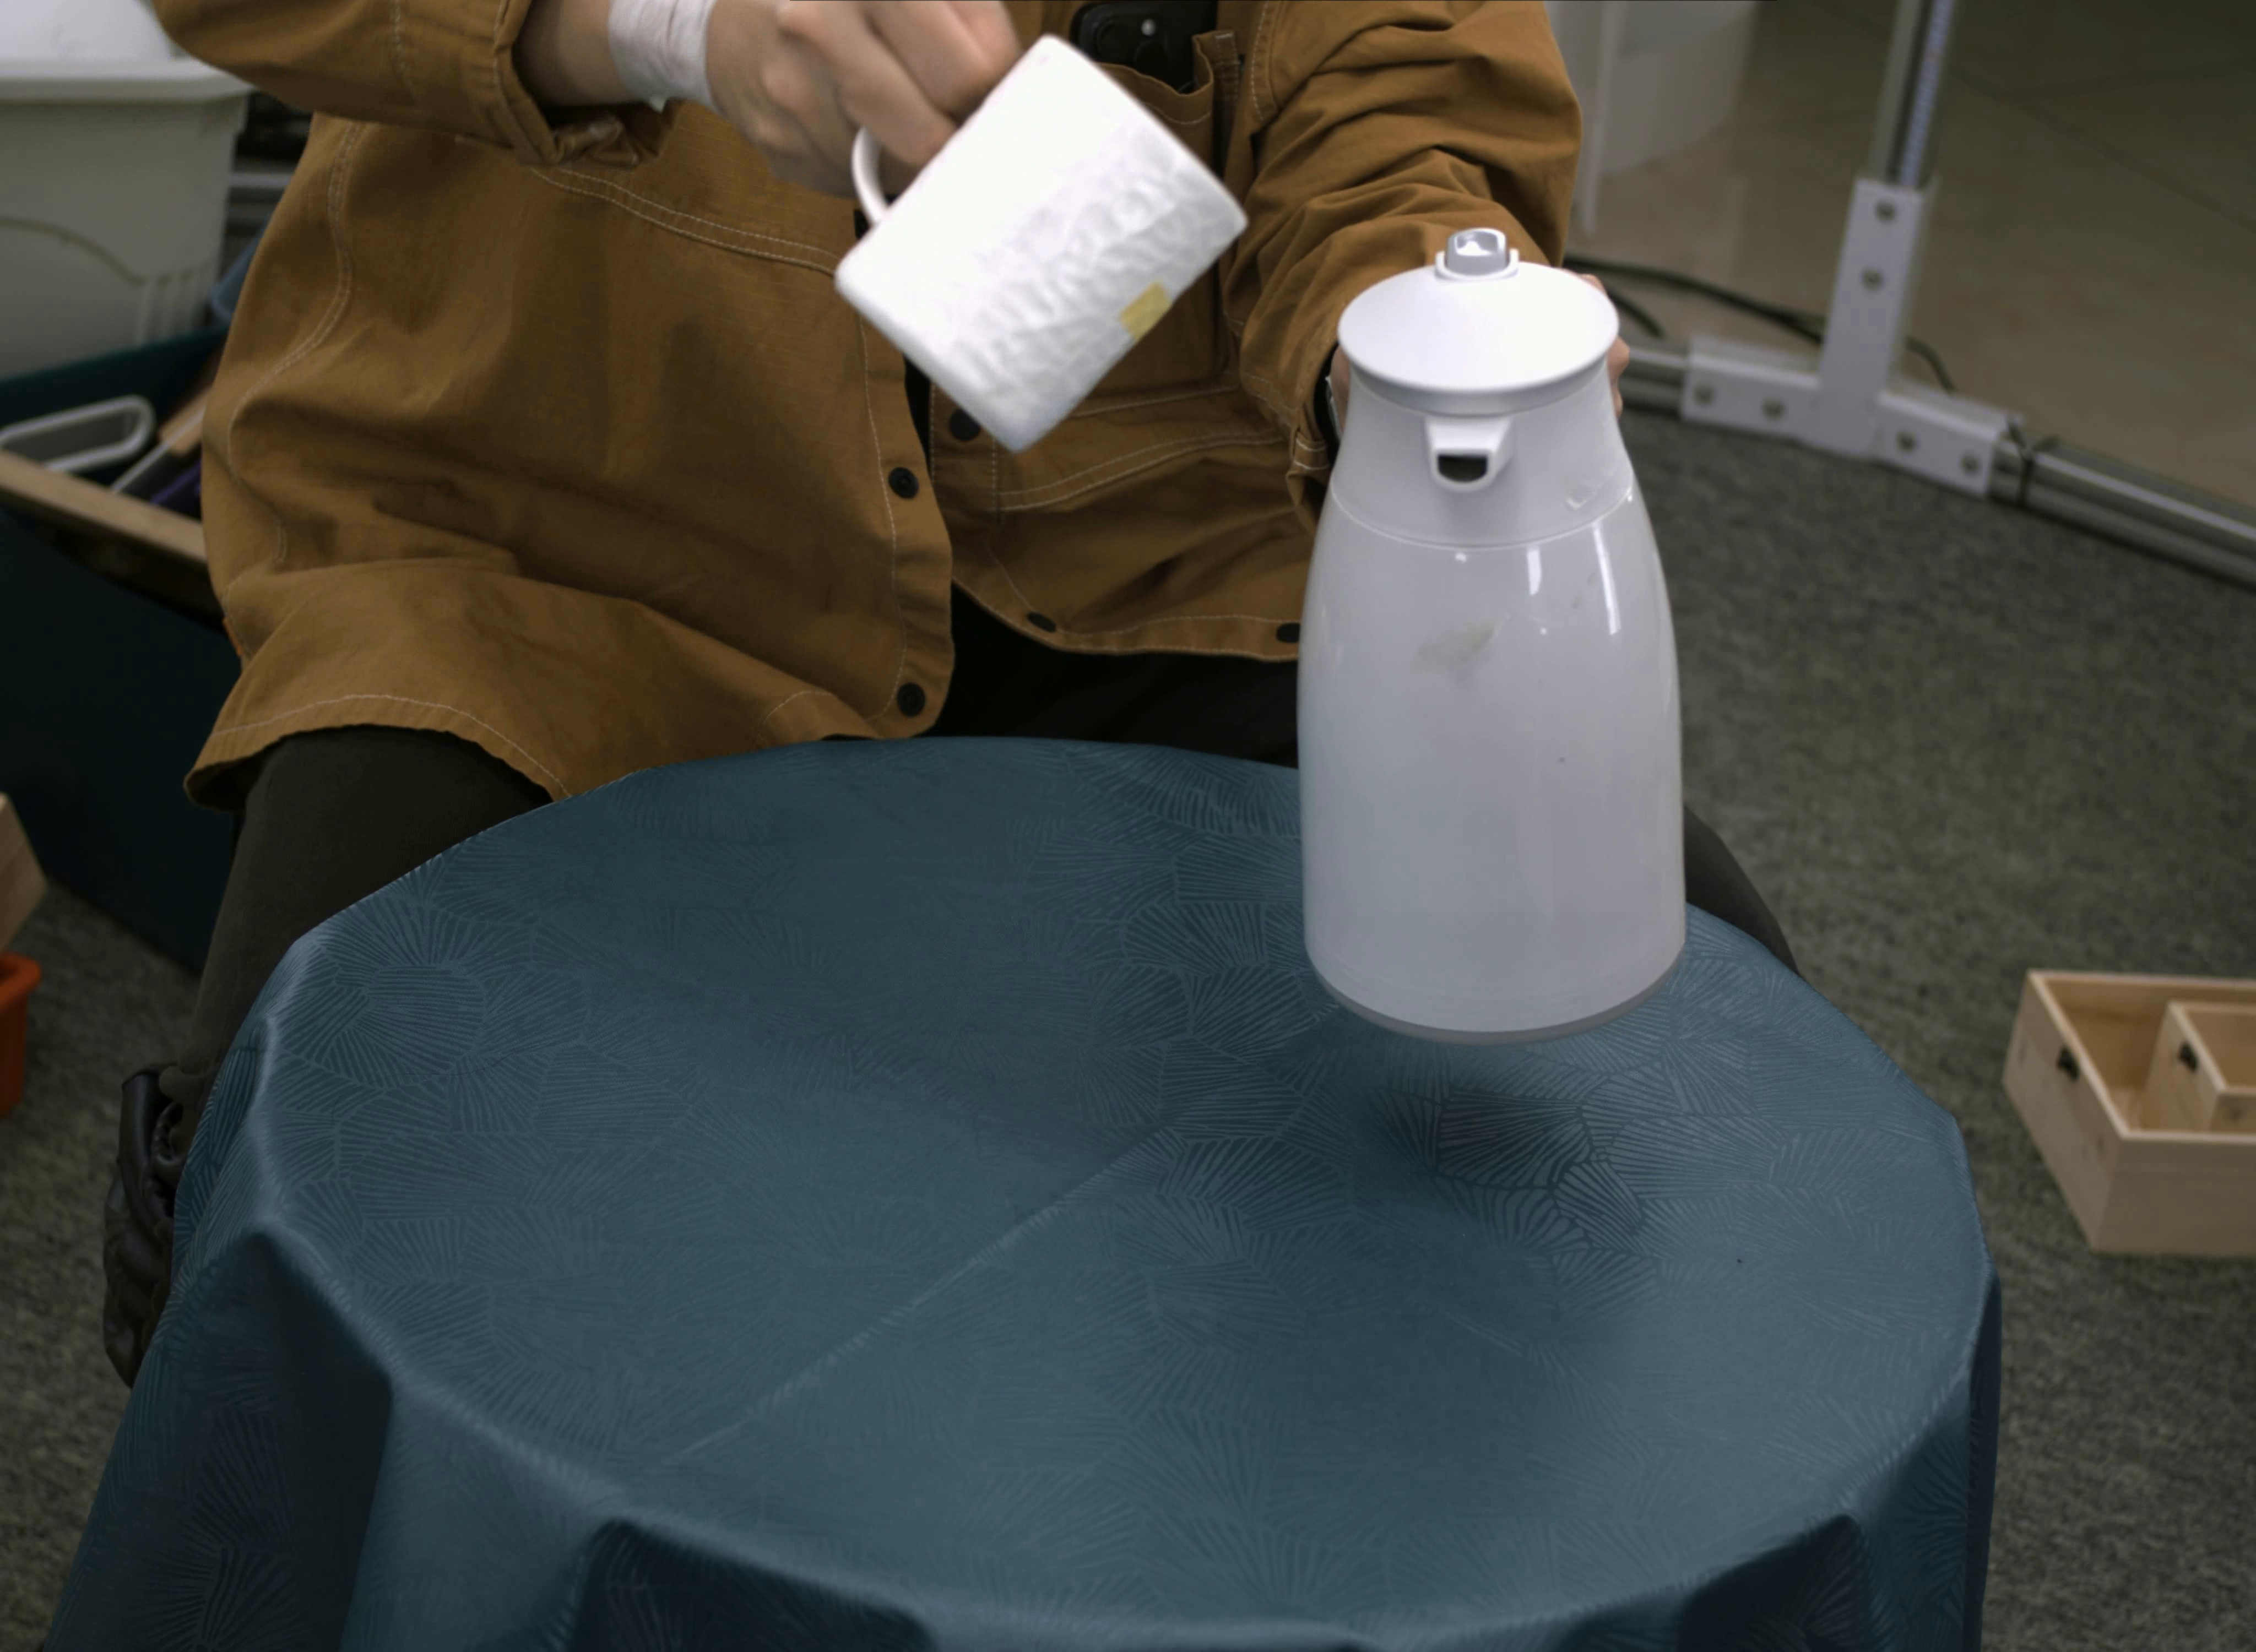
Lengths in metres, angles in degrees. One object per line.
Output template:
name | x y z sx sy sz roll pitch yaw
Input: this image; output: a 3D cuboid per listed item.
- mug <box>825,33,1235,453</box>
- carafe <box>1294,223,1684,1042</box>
mug | -0.043 -0.188 1.649 0.119 0.102 0.084 42 1 24
carafe | 0.120 -0.076 1.800 0.132 0.247 0.168 0 31 8
